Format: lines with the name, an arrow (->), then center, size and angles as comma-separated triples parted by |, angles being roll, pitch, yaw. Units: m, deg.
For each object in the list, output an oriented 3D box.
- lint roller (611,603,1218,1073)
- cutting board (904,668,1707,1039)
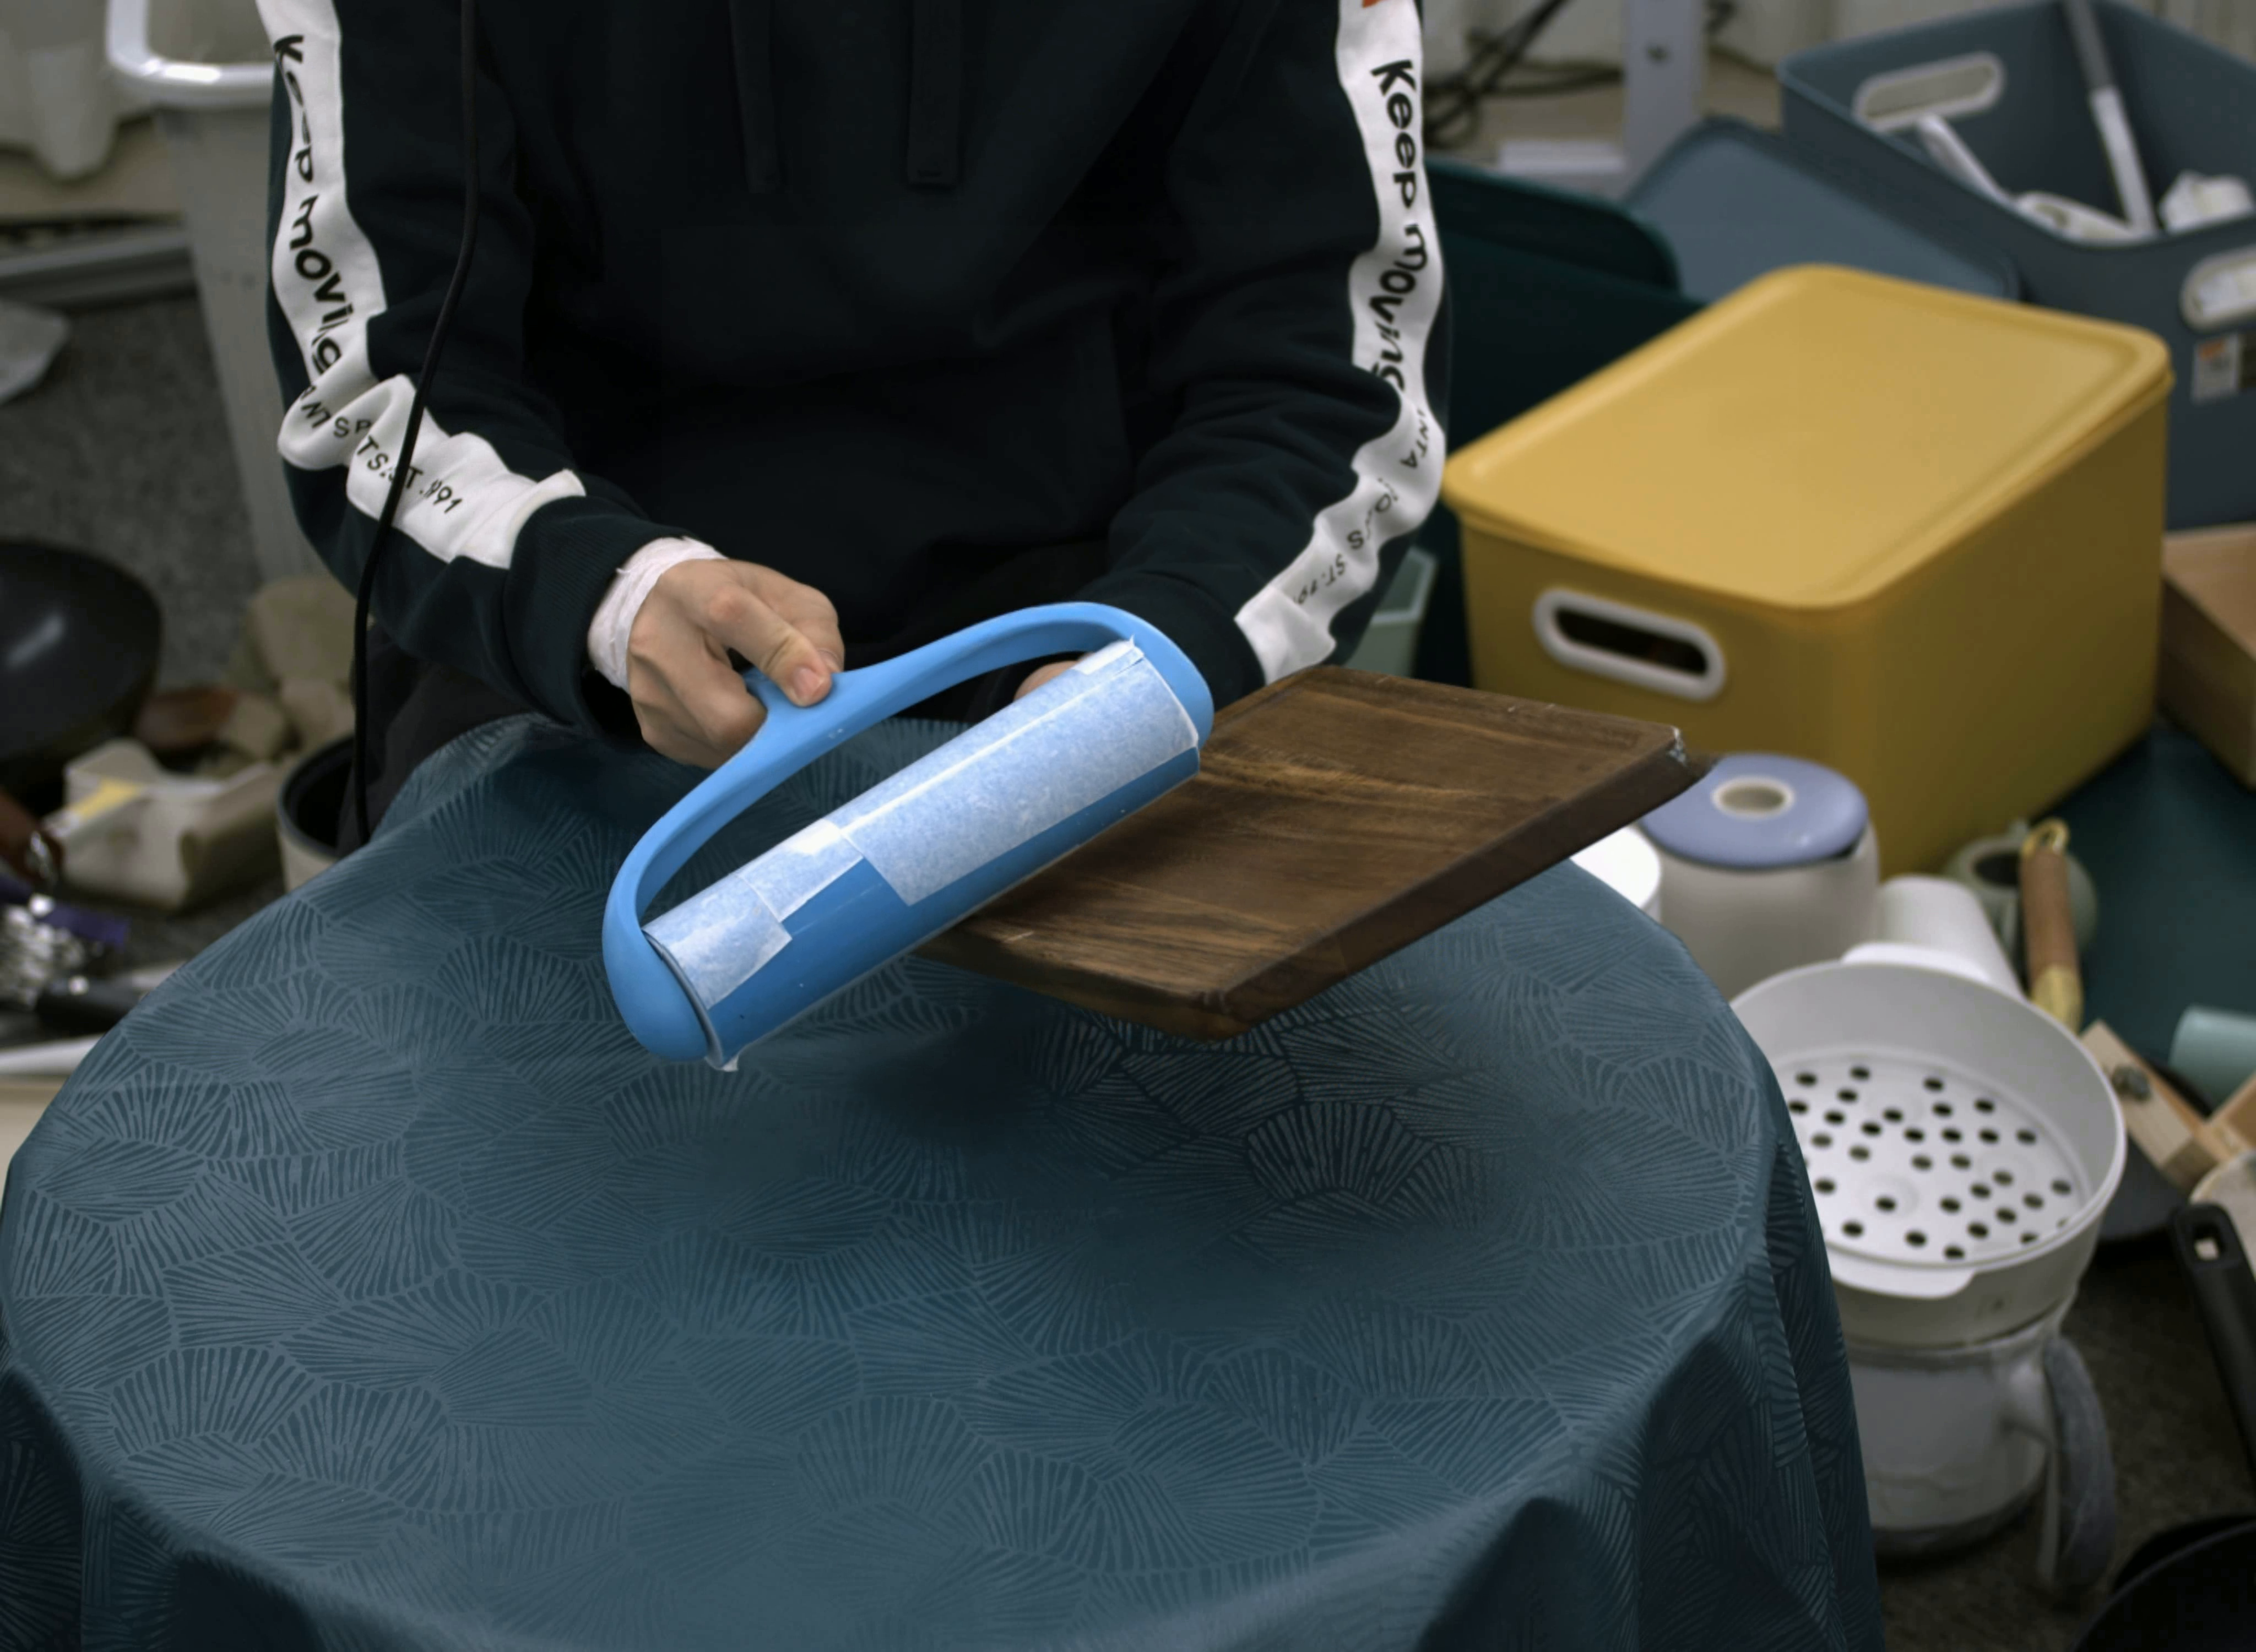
lint roller -> -0.100, -0.018, 1.905 | 0.231, 0.067, 0.181 | -34, 43, -18
cutting board -> 0.024, -0.001, 1.908 | 0.203, 0.023, 0.351 | -27, 18, -23
